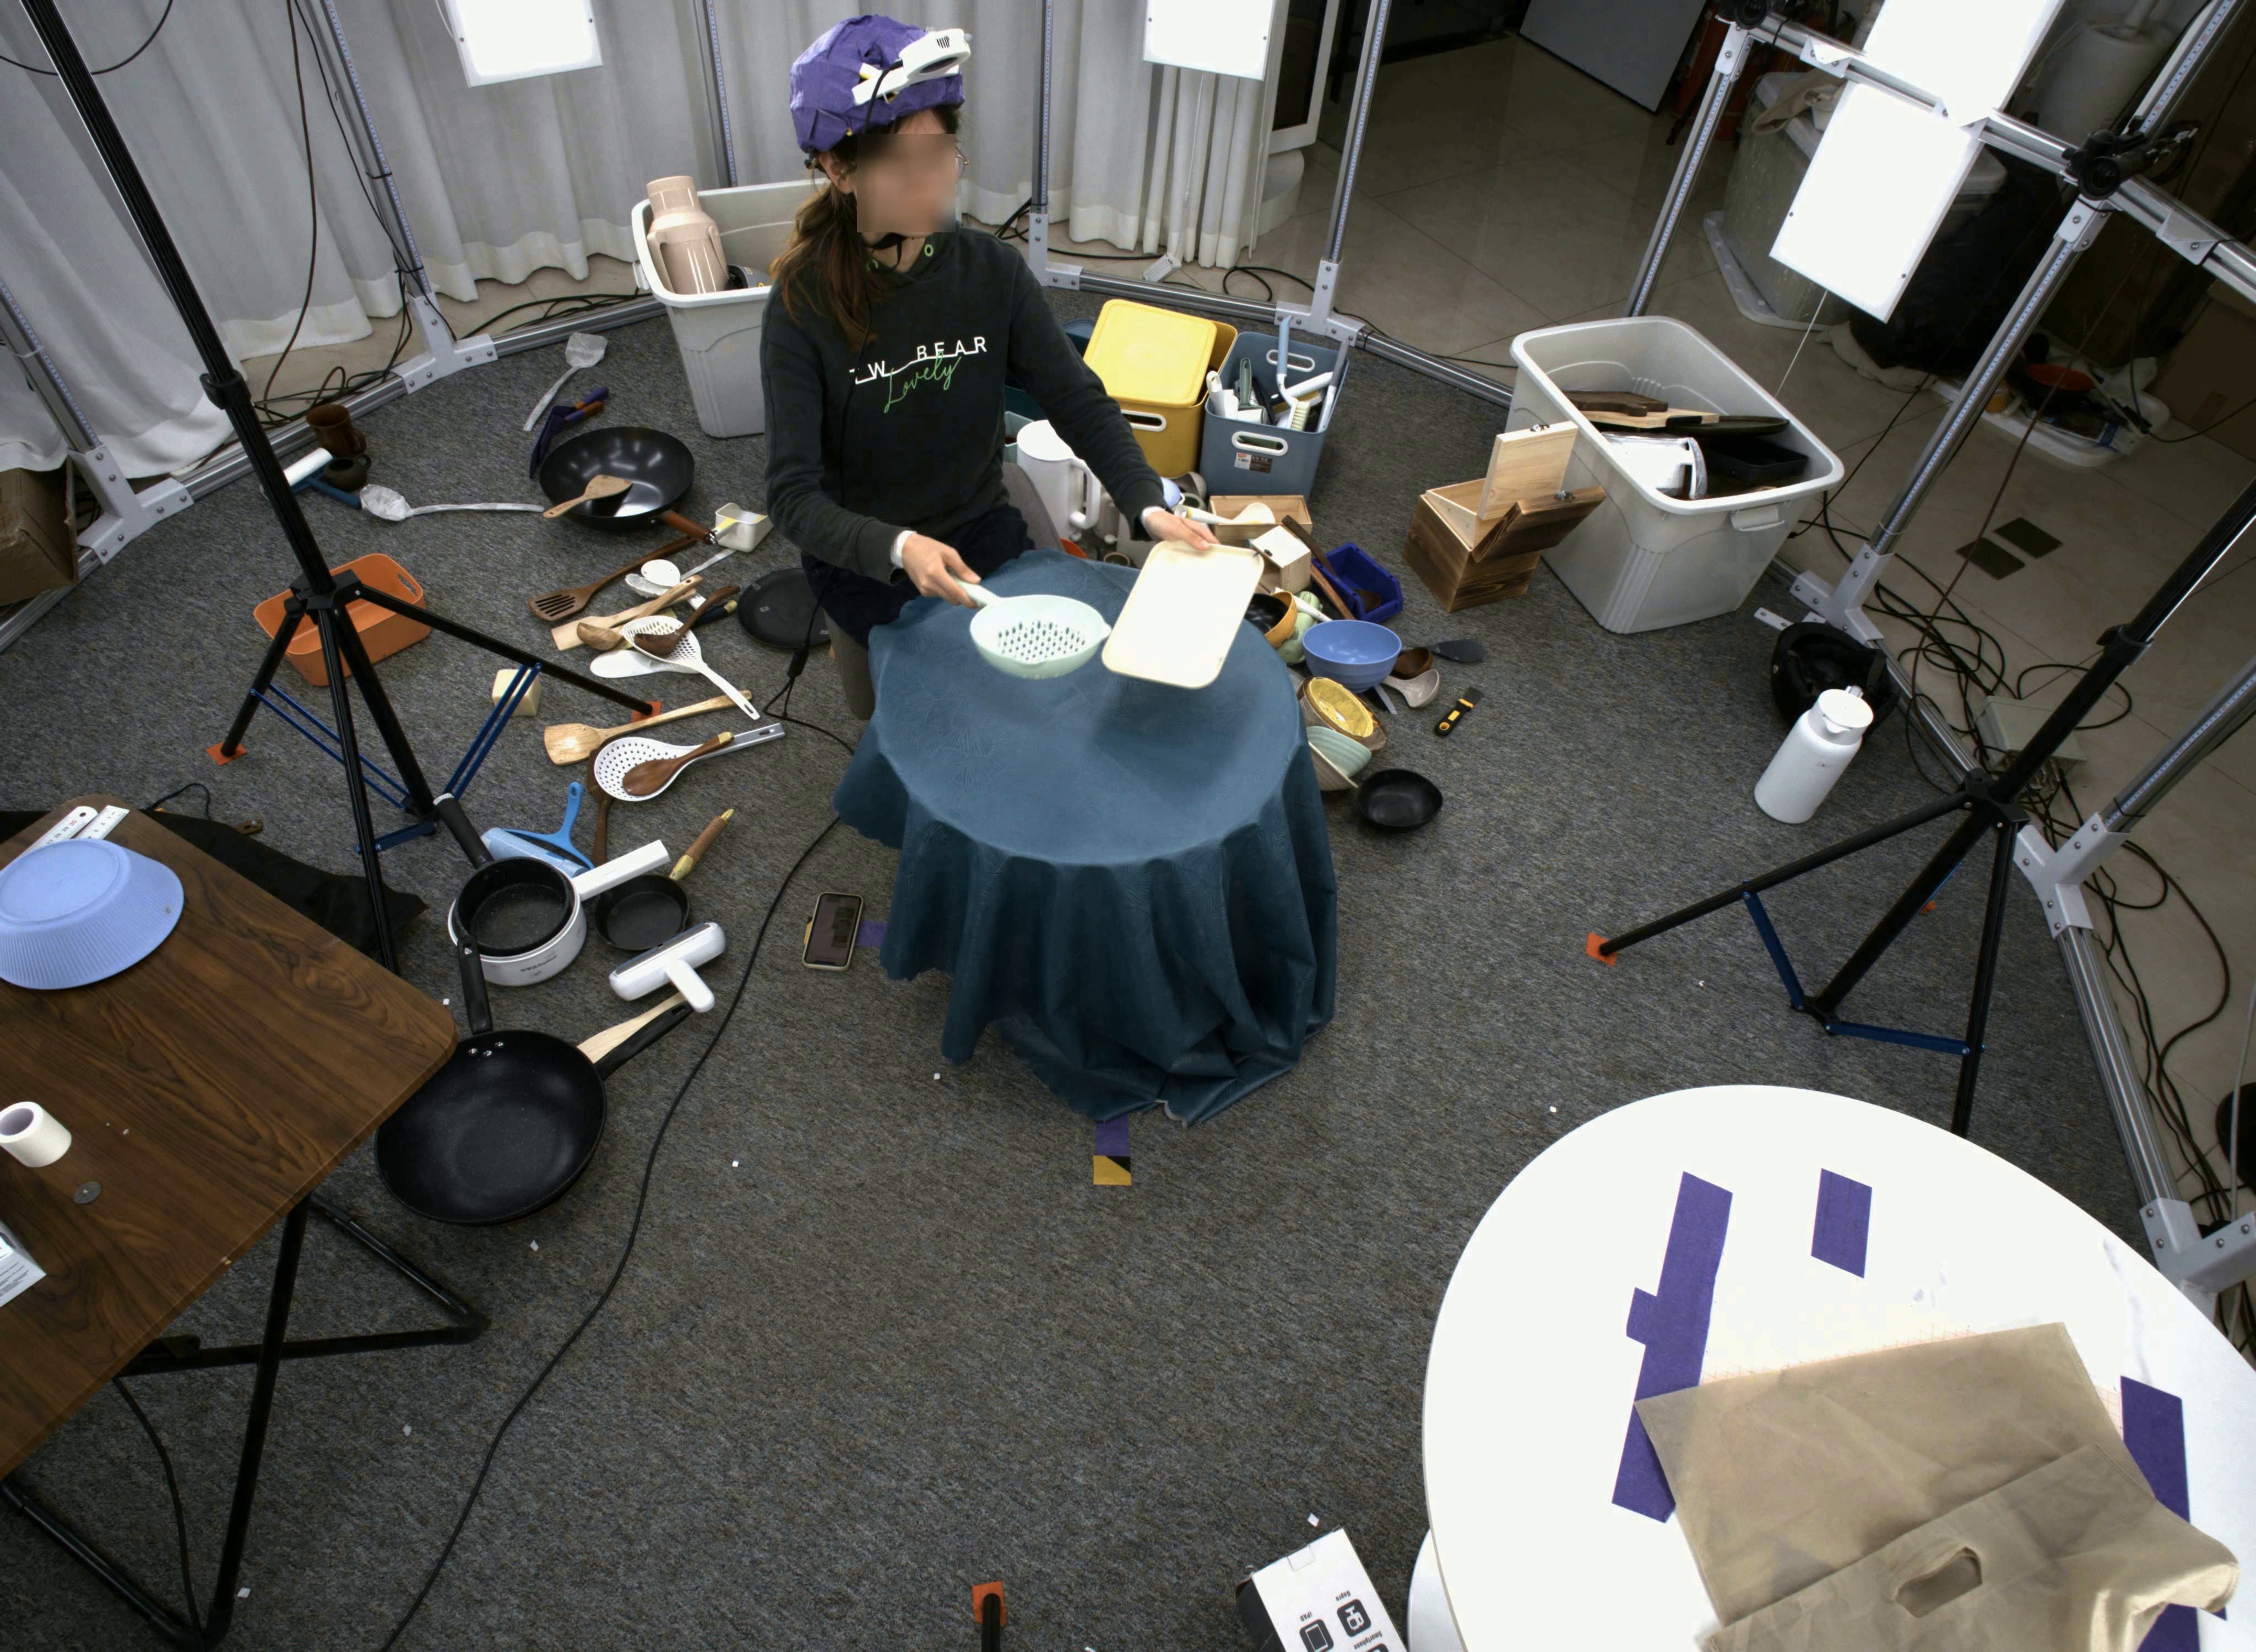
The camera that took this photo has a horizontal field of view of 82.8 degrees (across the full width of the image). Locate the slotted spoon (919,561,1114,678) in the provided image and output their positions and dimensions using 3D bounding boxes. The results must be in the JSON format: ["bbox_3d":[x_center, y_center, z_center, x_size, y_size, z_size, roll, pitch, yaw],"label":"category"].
[{"bbox_3d":[-0.174,-0.289,1.699,0.170,0.073,0.365,-23,49,-33],"label":"slotted spoon"}]

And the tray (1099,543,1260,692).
[{"bbox_3d":[0.073,-0.289,1.772,0.172,0.017,0.243,14,62,23],"label":"tray"}]
